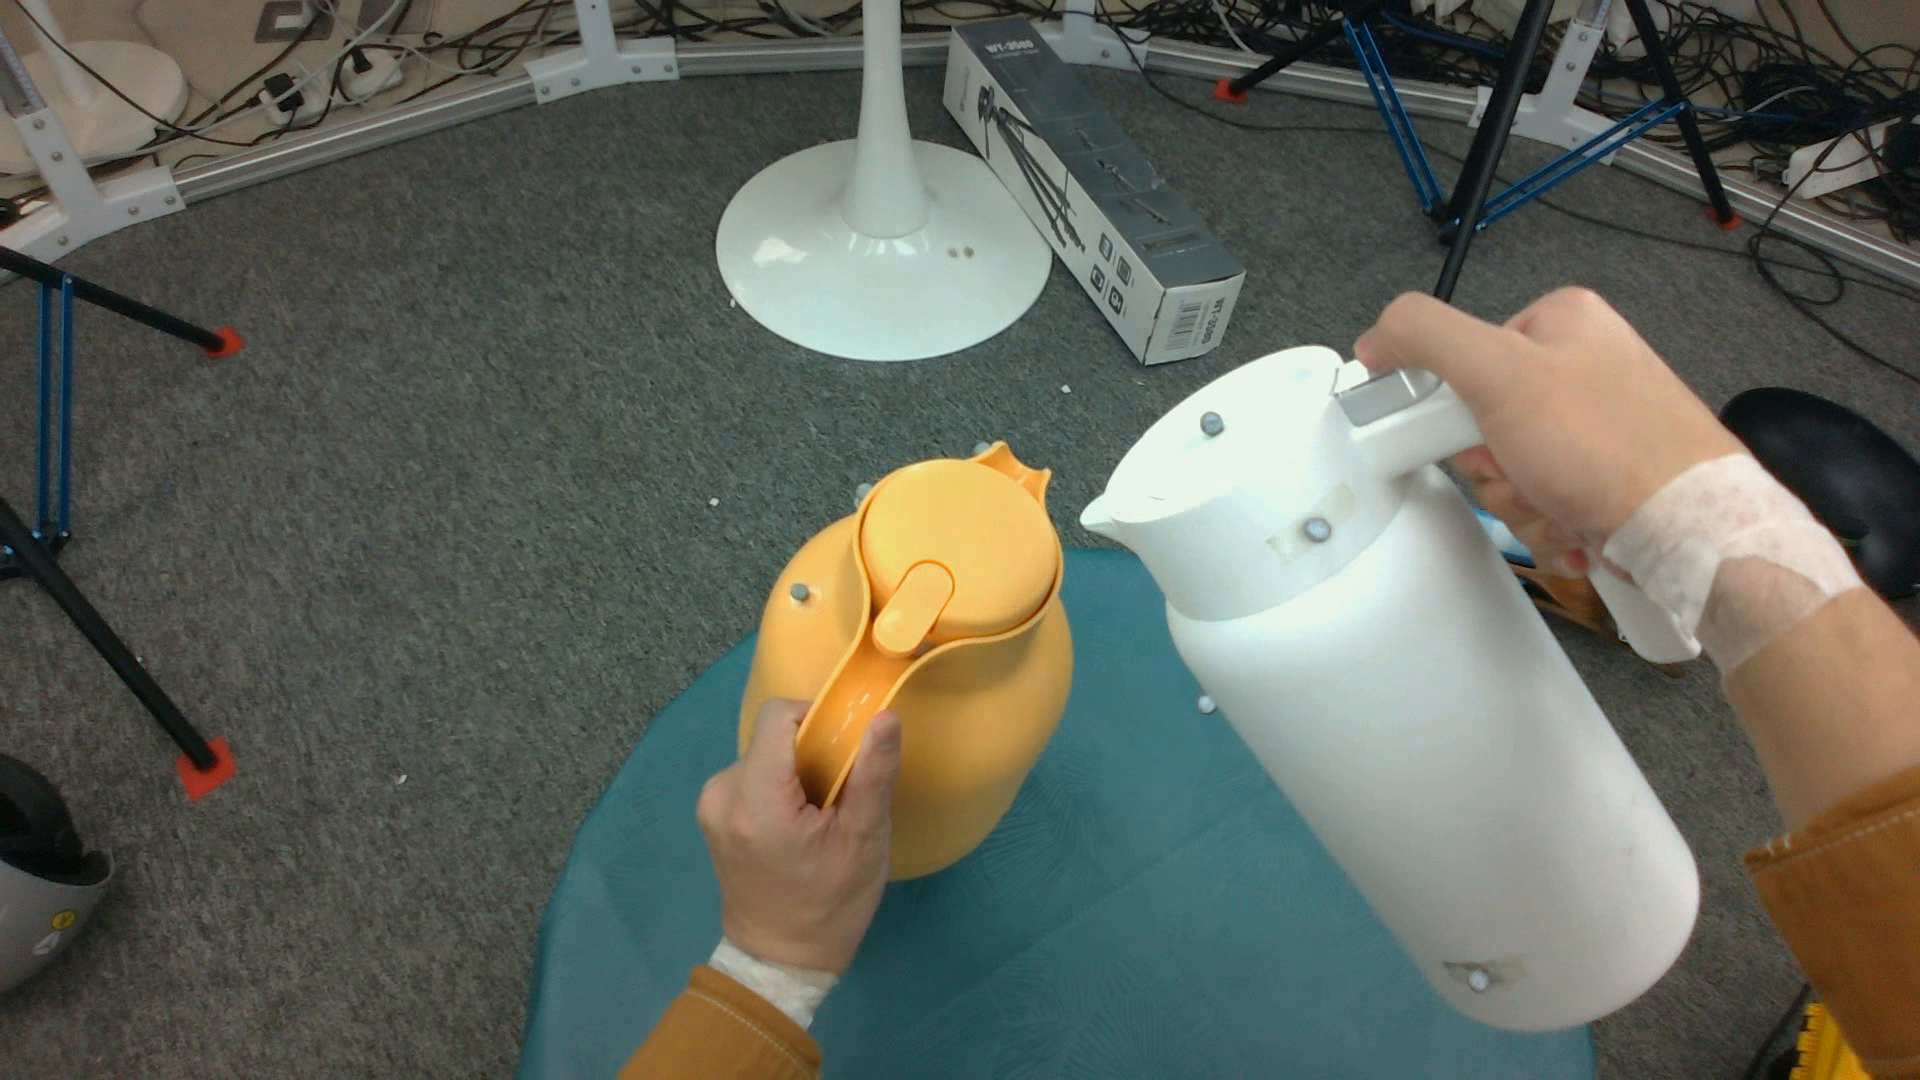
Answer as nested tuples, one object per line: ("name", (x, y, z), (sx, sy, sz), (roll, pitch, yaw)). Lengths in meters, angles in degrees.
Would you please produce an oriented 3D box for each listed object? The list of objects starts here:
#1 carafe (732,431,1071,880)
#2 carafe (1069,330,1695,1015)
("carafe", (-0.038, 0.072, 0.696), (0.163, 0.259, 0.203), (32, 54, 9))
("carafe", (0.182, 0.047, 0.522), (0.268, 0.172, 0.124), (53, 37, -16))
